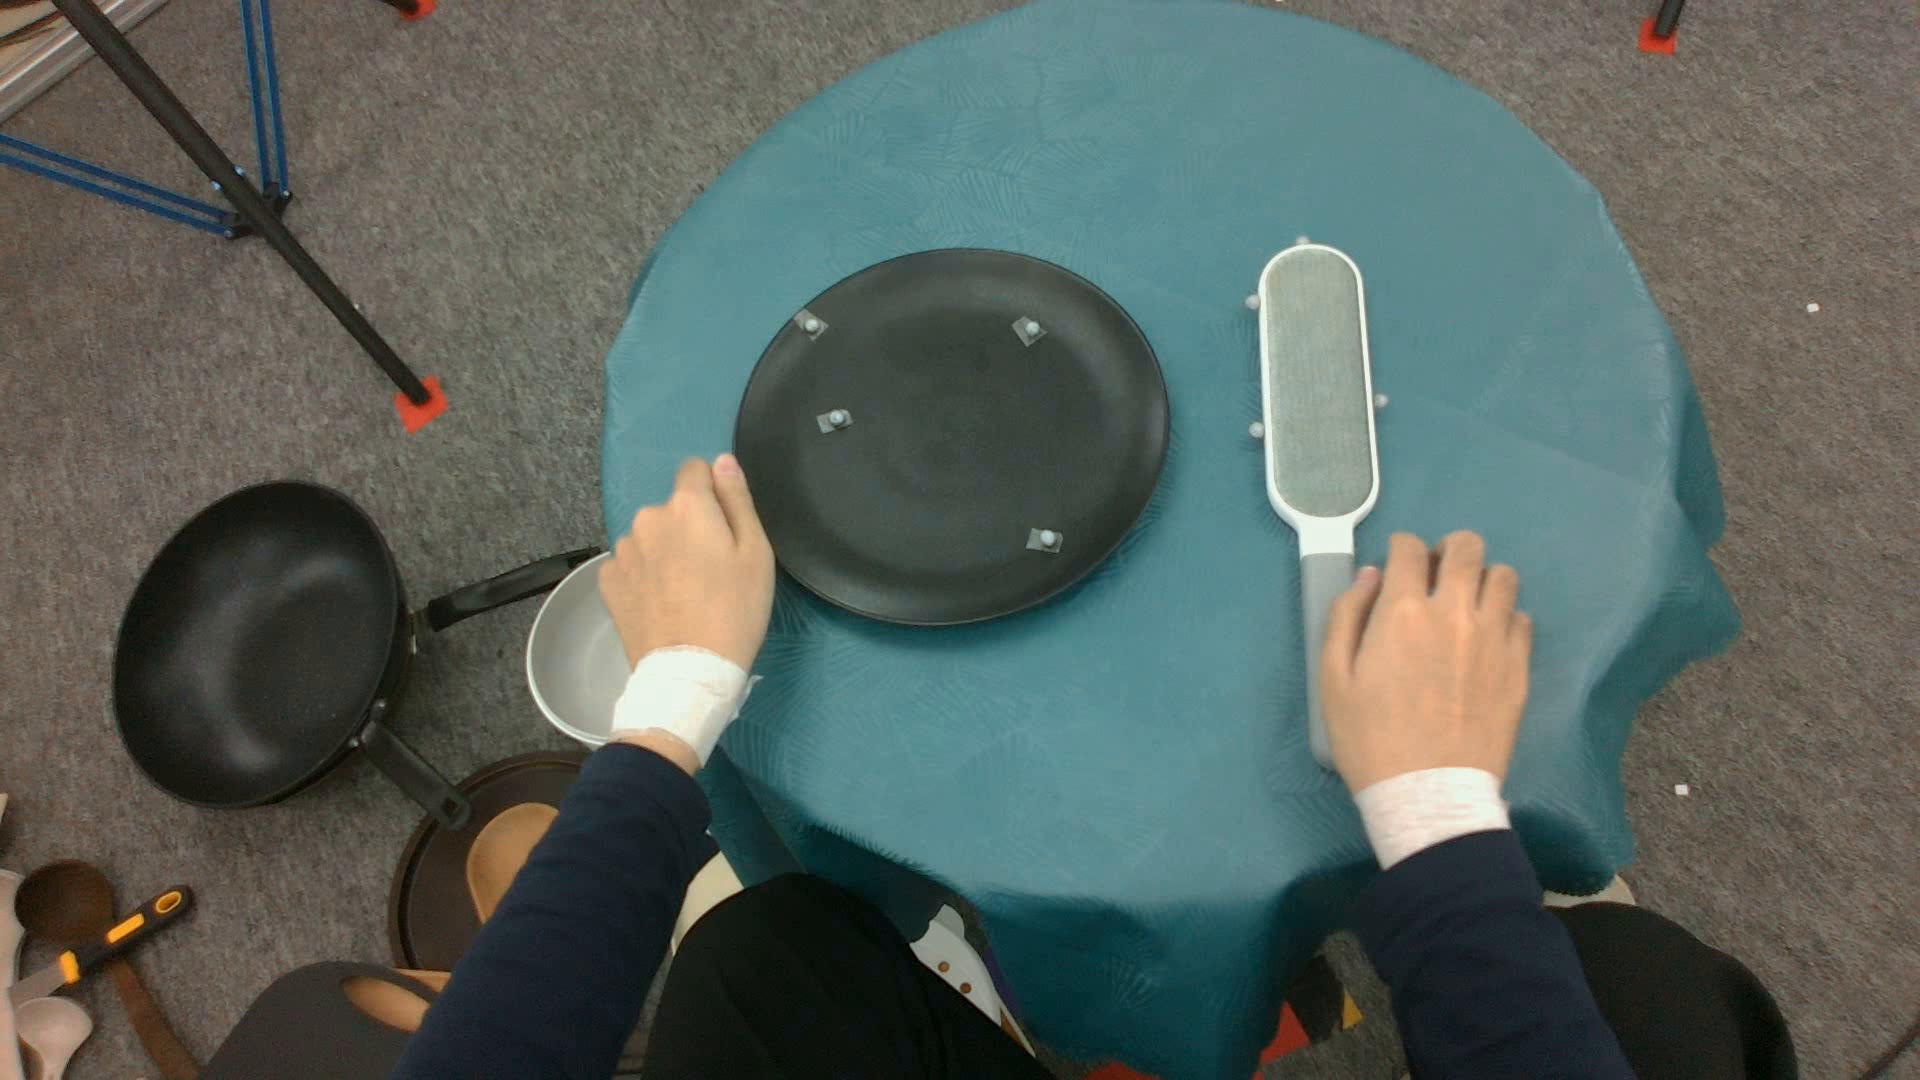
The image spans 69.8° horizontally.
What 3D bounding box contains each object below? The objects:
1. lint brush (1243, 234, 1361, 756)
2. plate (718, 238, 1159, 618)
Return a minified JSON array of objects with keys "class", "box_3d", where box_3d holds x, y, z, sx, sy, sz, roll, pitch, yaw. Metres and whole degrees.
[{"class":"lint brush","box_3d":[0.180,-0.036,0.722,0.060,0.021,0.310,3,63,2]},{"class":"plate","box_3d":[-0.012,-0.066,0.761,0.244,0.023,0.245,-3,62,5]}]
